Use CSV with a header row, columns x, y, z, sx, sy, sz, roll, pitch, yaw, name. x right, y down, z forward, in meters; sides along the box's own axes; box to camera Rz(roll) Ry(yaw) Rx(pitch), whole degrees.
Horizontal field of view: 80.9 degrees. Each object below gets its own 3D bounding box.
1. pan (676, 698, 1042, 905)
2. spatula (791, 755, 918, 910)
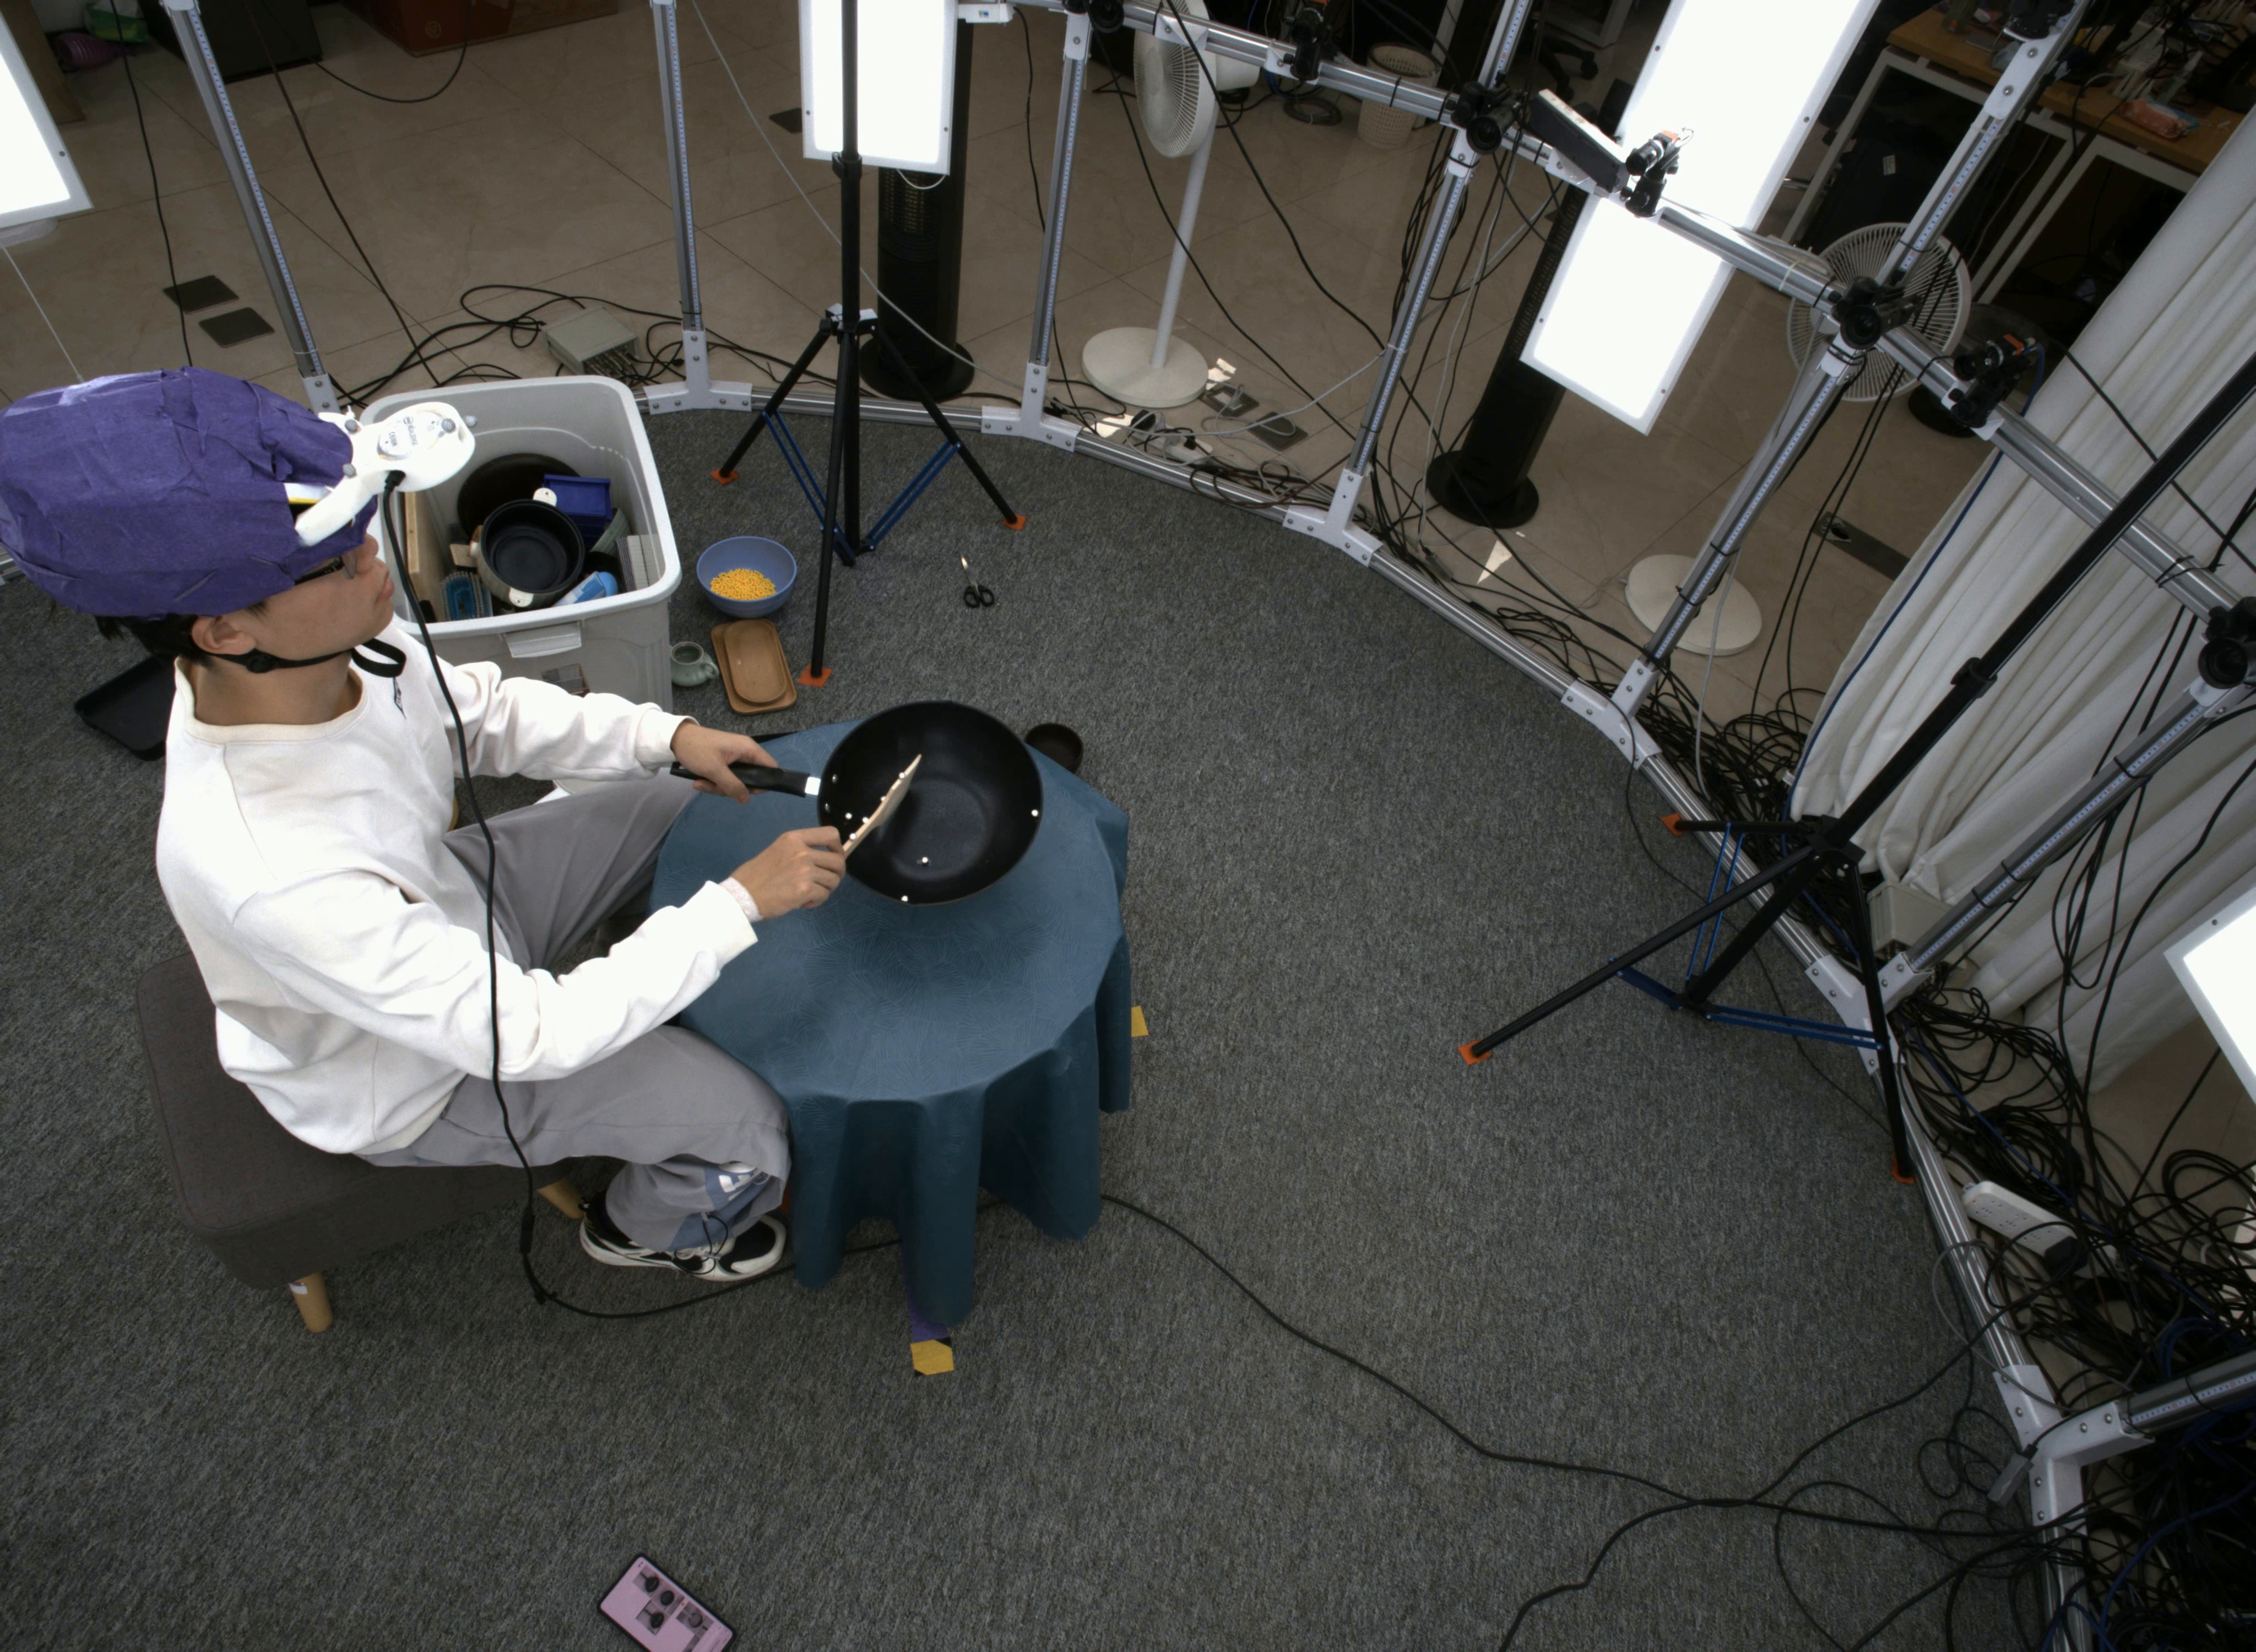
x,y,z,sx,sy,sz,roll,pitch,yaw,name
-0.337,-0.031,1.639,0.459,0.088,0.285,8,65,-3,pan
-0.326,0.008,1.563,0.010,0.073,0.291,31,39,1,spatula
